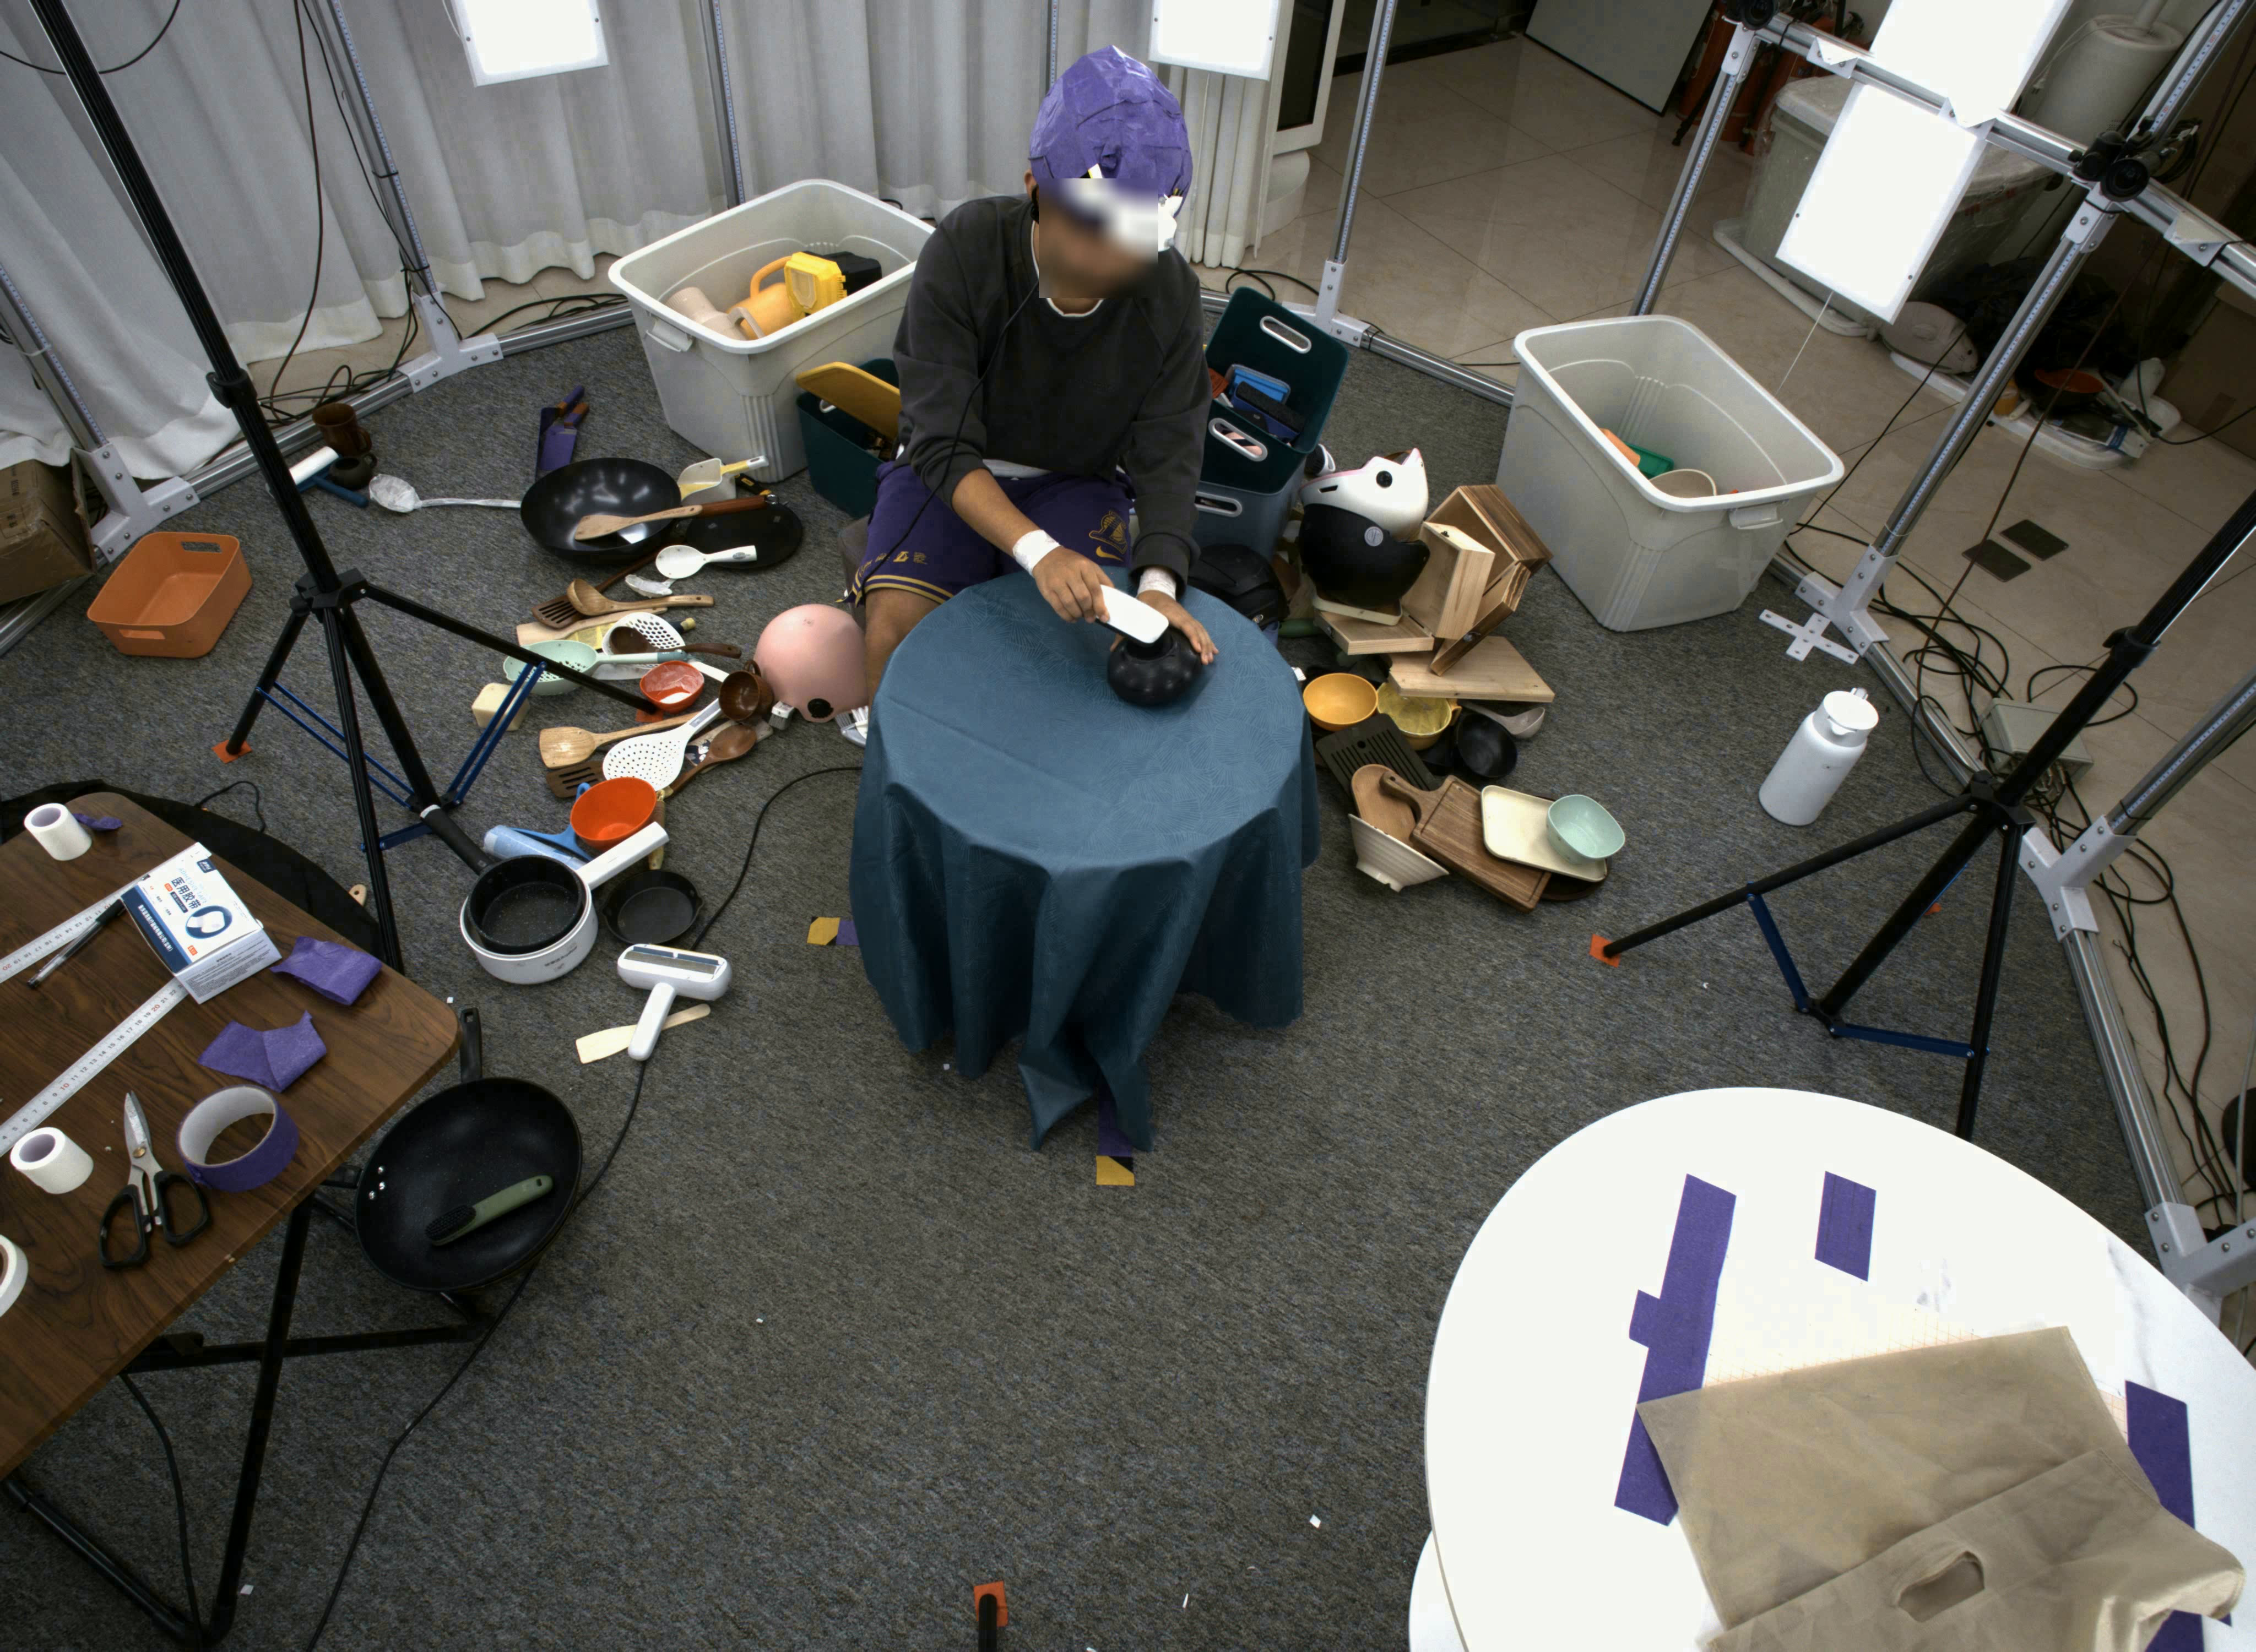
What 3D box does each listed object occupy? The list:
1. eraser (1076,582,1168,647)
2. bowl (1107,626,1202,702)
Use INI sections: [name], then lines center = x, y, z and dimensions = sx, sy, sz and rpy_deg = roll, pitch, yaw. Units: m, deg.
[eraser]
center = -0.008, -0.303, 1.817
dimensions = 0.132, 0.034, 0.064
rpy_deg = 32, 41, 14
[bowl]
center = 0.034, -0.242, 1.827
dimensions = 0.140, 0.048, 0.143
rpy_deg = -7, 48, 8
